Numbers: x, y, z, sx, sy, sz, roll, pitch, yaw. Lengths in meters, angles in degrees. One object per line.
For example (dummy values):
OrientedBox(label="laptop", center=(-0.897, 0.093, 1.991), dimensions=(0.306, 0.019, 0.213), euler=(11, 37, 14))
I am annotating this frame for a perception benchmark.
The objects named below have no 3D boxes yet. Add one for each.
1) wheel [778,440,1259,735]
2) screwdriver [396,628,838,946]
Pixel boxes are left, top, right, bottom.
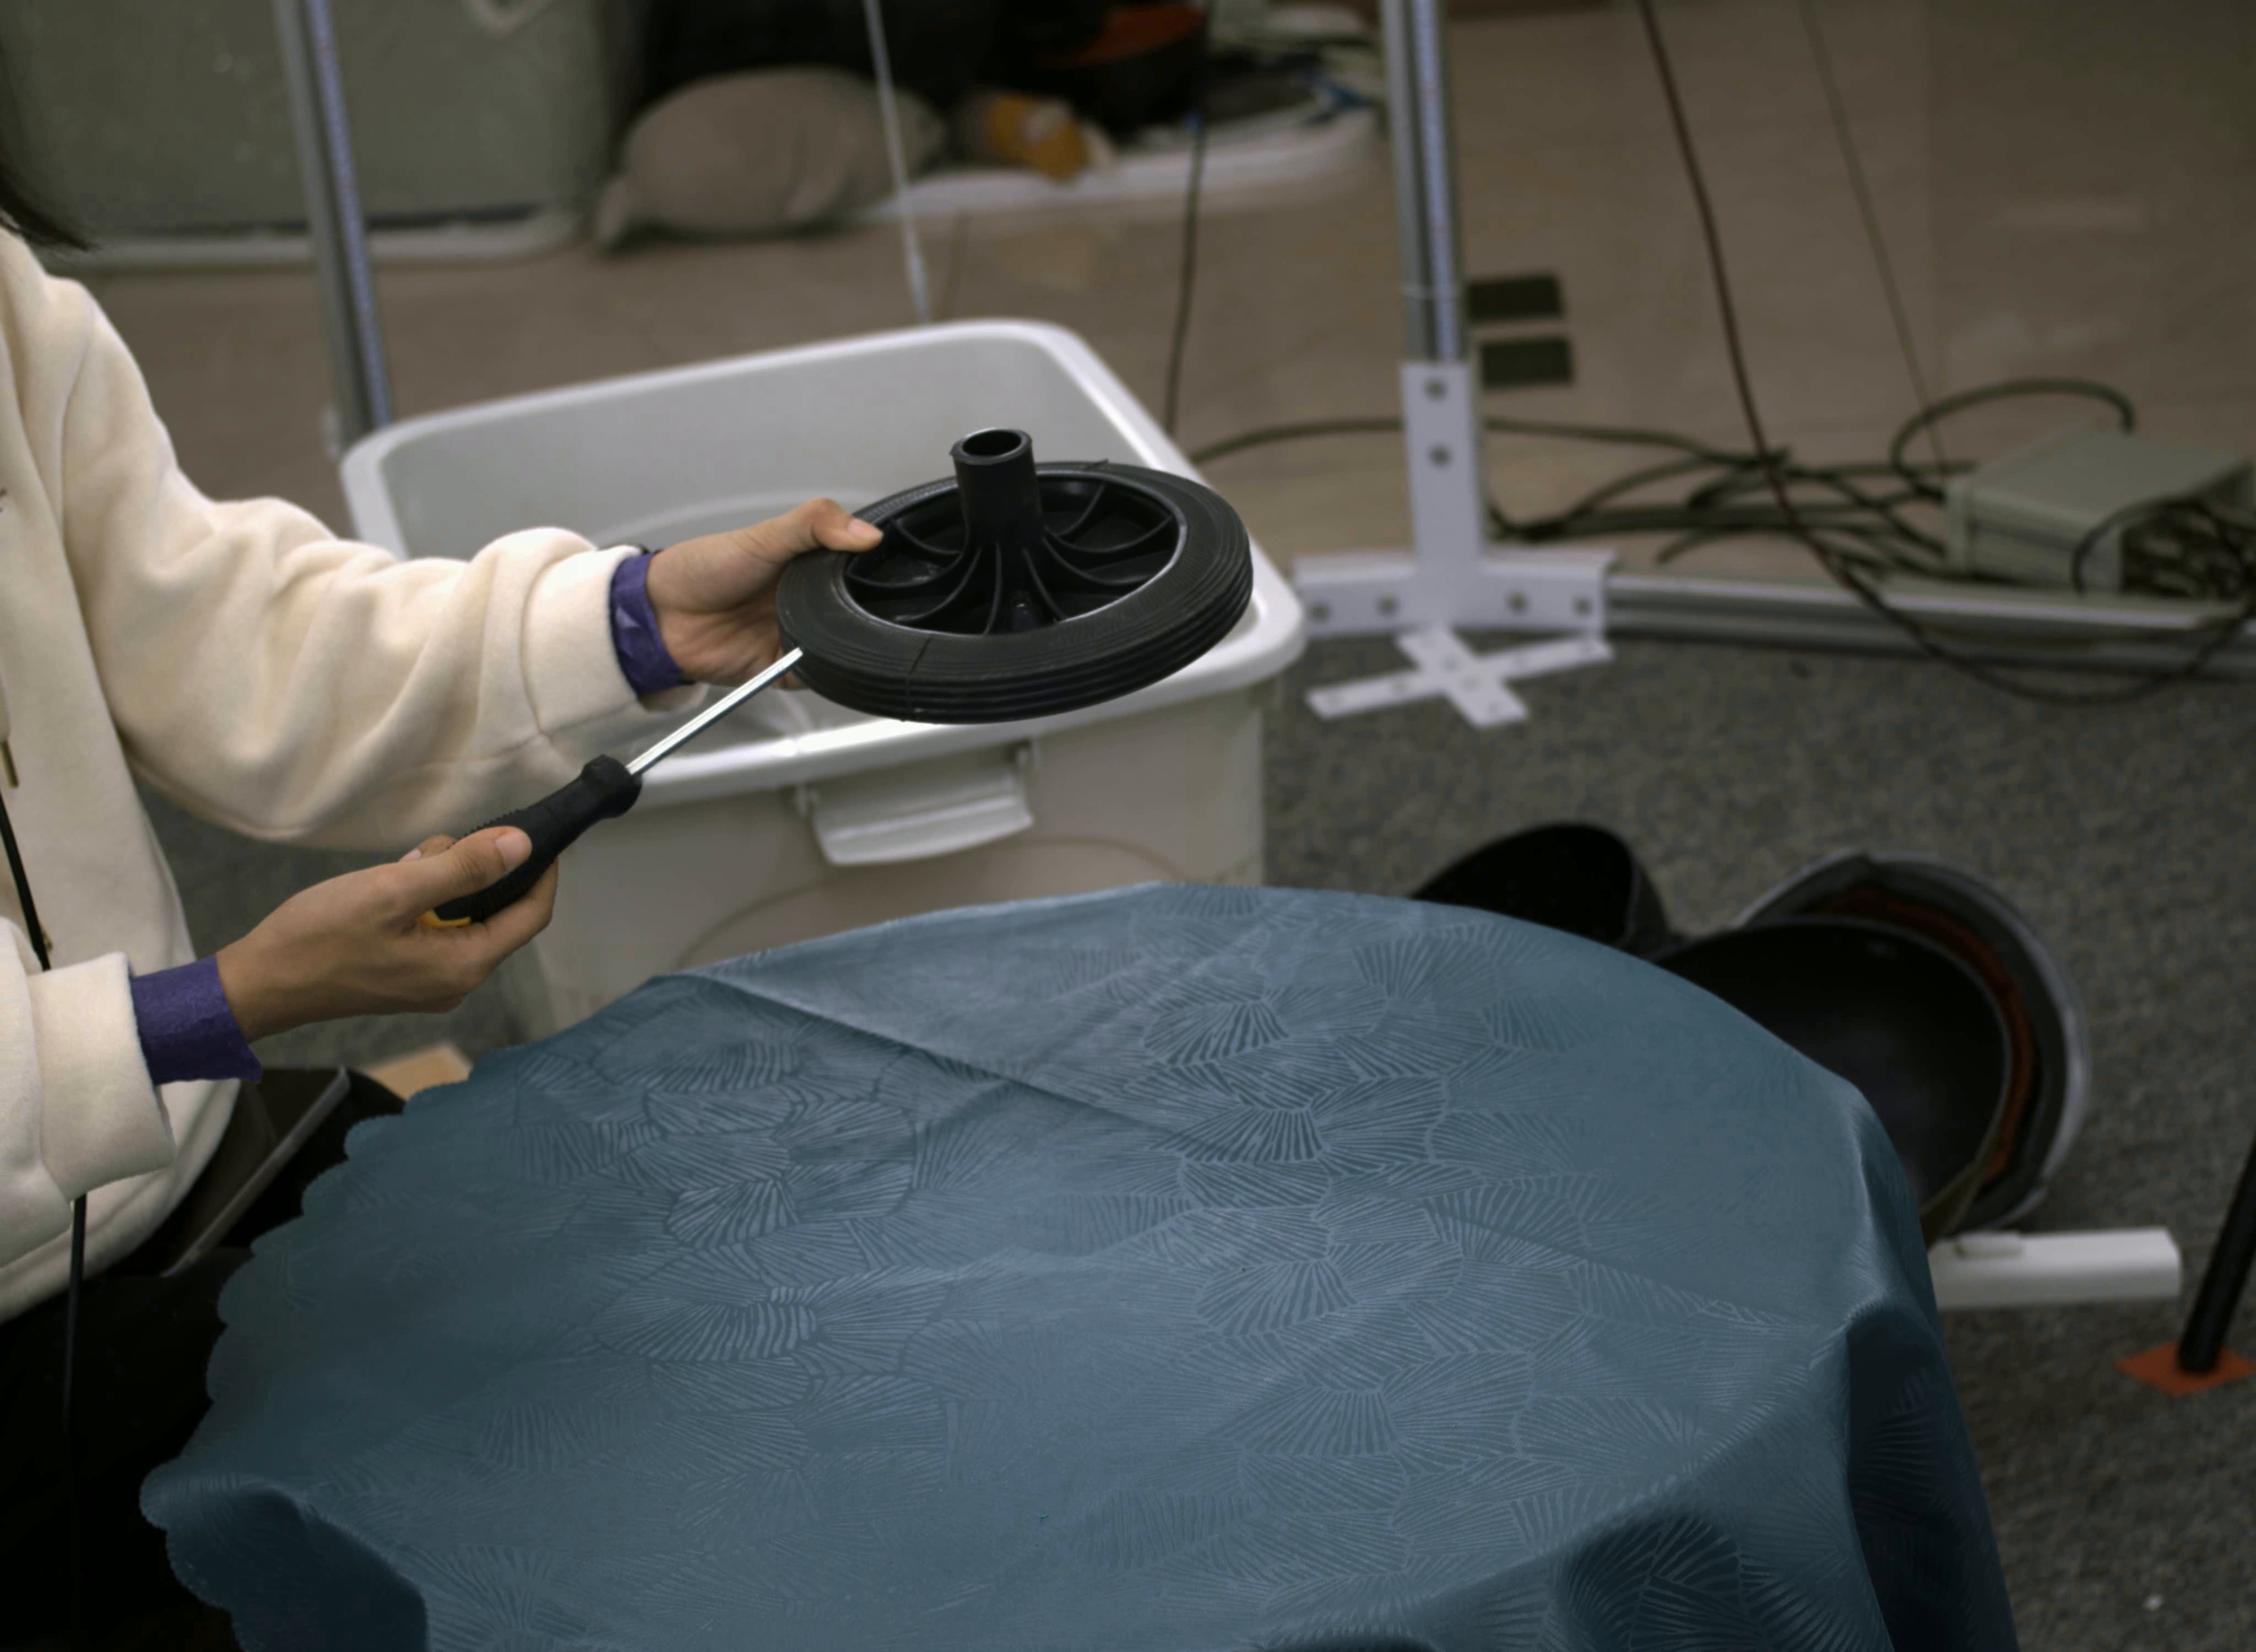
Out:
OrientedBox(label="wheel", center=(-0.046, -0.108, 2.199), dimensions=(0.186, 0.080, 0.187), euler=(-22, 33, -23))
OrientedBox(label="screwdriver", center=(-0.187, -0.017, 2.099), dimensions=(0.196, 0.032, 0.031), euler=(-35, 34, -18))
